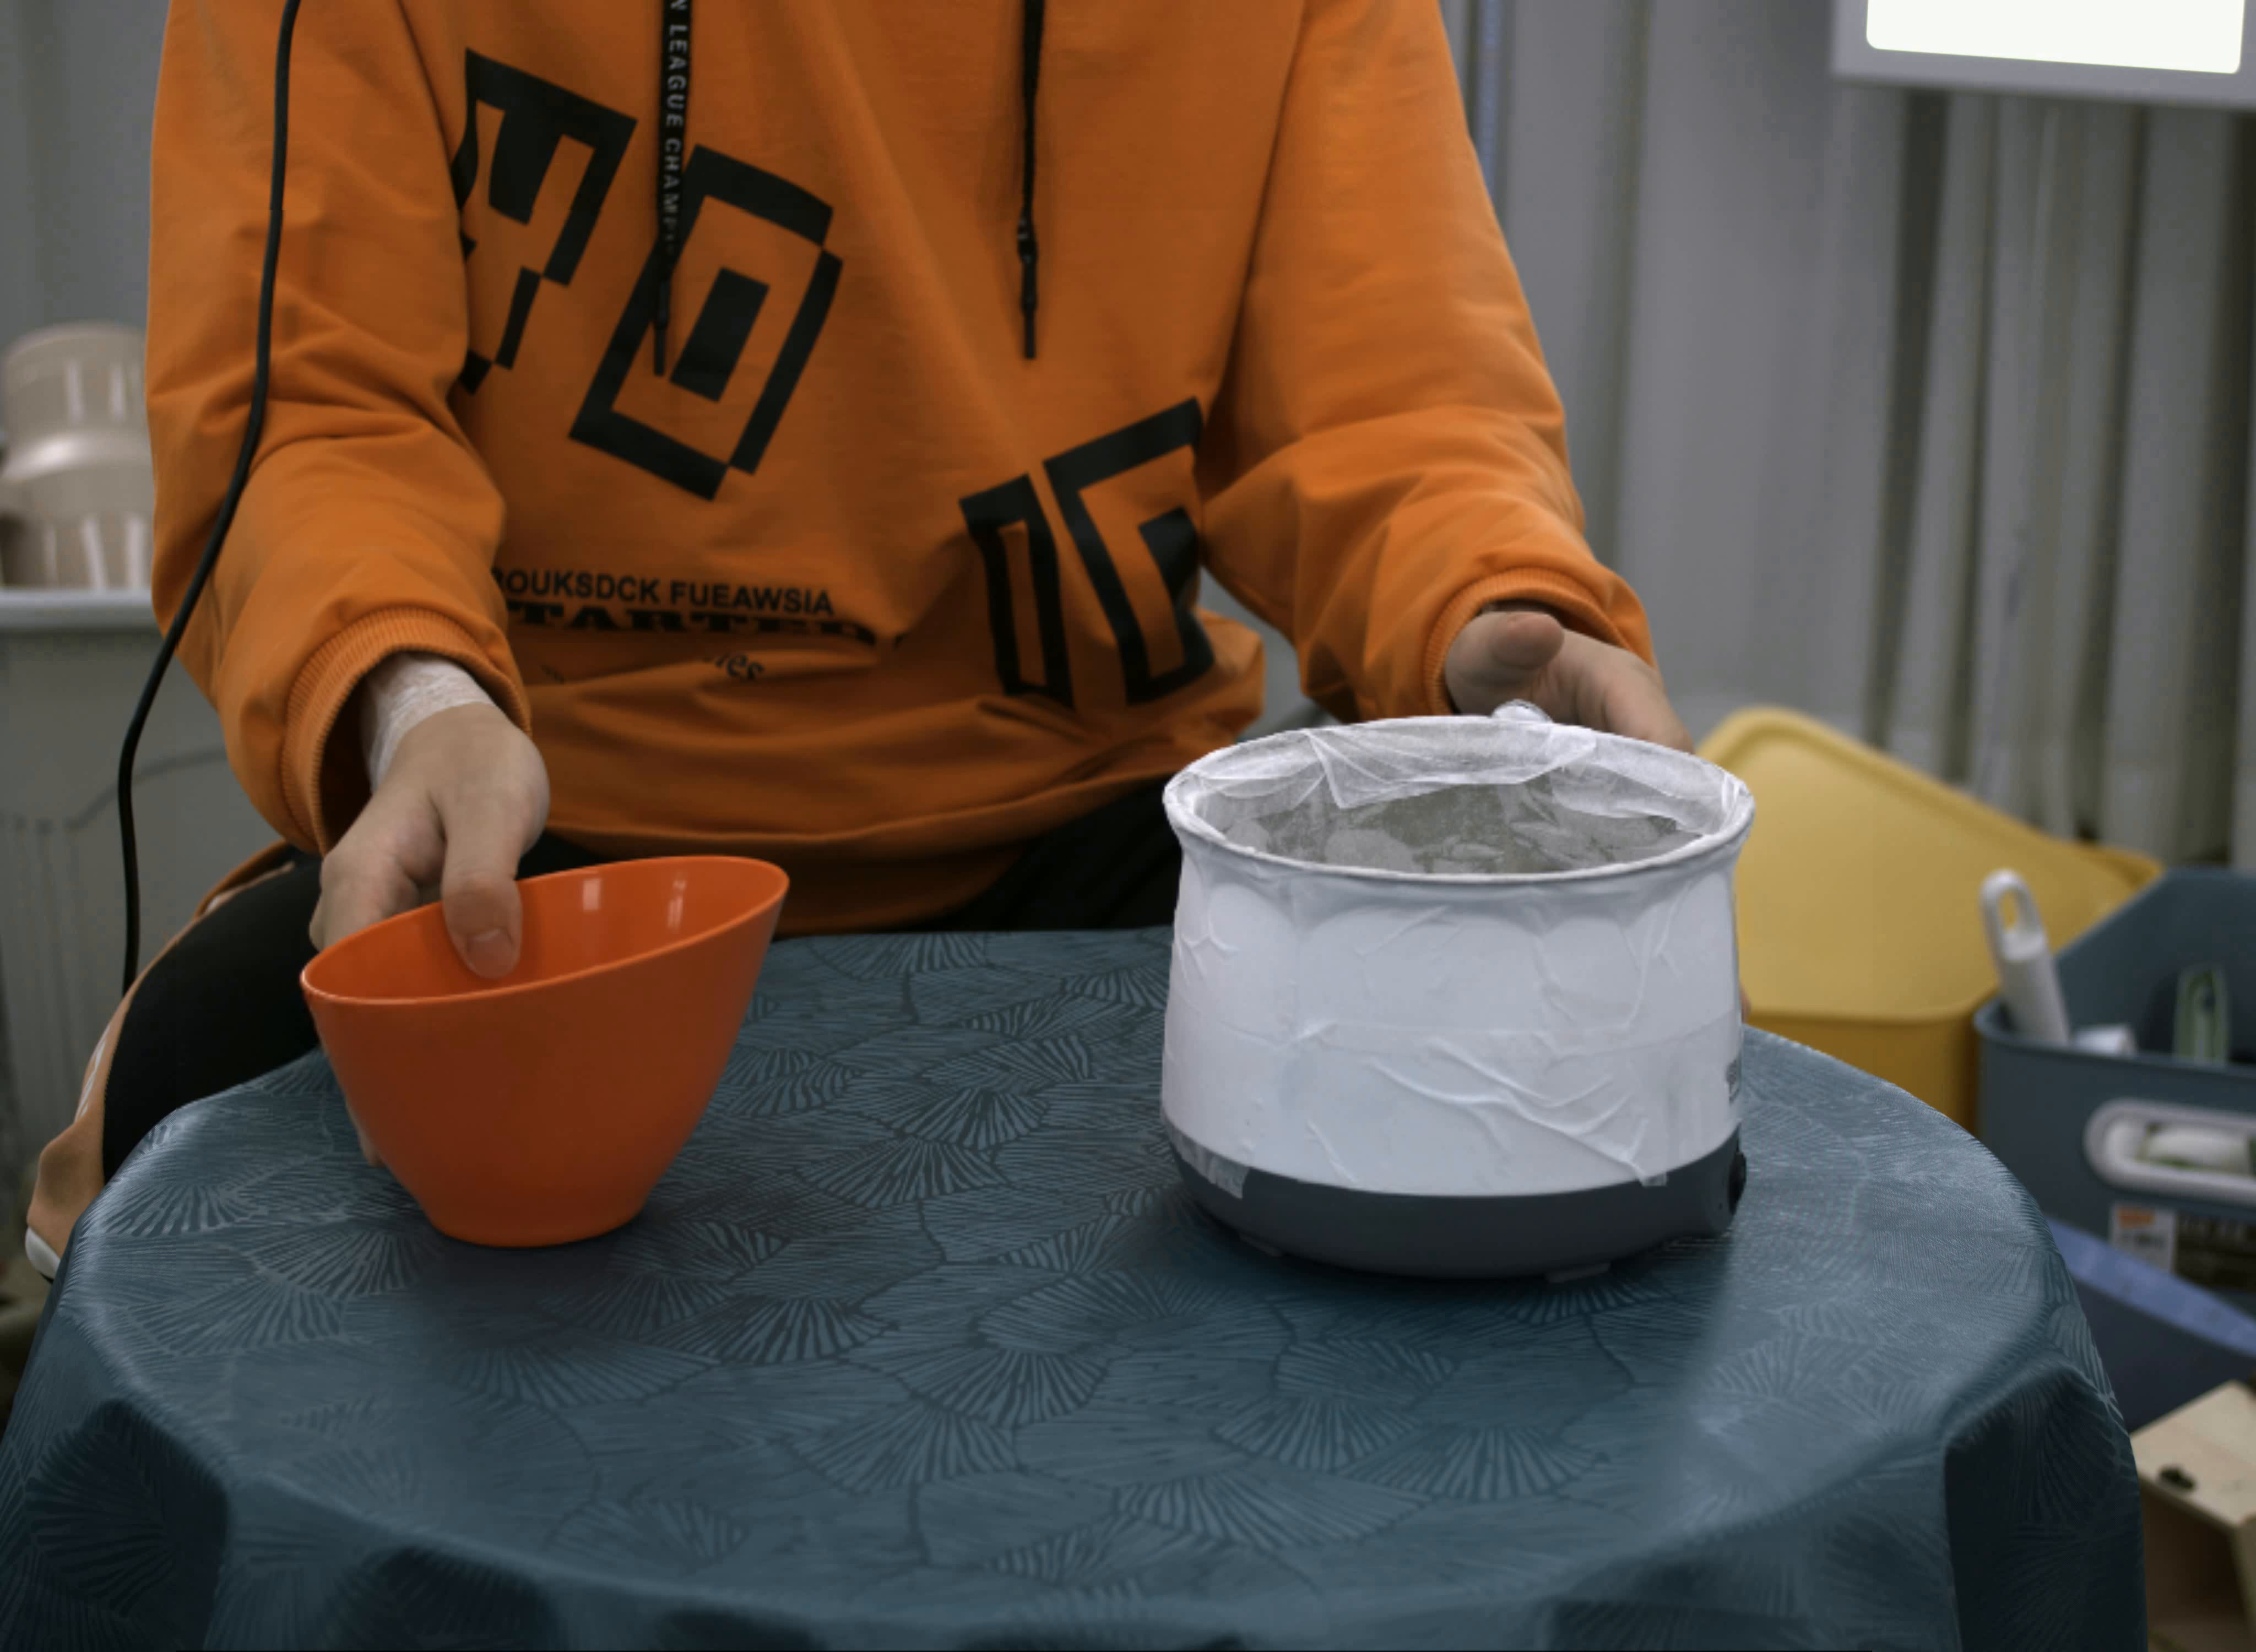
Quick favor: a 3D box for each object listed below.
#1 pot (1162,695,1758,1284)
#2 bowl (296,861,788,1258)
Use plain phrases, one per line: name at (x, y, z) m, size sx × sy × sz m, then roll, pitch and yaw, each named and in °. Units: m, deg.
pot at (0.105, 0.044, 1.614) m, size 0.177 × 0.138 × 0.233 m, roll 4°, pitch 17°, yaw 12°
bowl at (-0.172, 0.071, 1.576) m, size 0.147 × 0.105 × 0.147 m, roll -2°, pitch 19°, yaw 1°
